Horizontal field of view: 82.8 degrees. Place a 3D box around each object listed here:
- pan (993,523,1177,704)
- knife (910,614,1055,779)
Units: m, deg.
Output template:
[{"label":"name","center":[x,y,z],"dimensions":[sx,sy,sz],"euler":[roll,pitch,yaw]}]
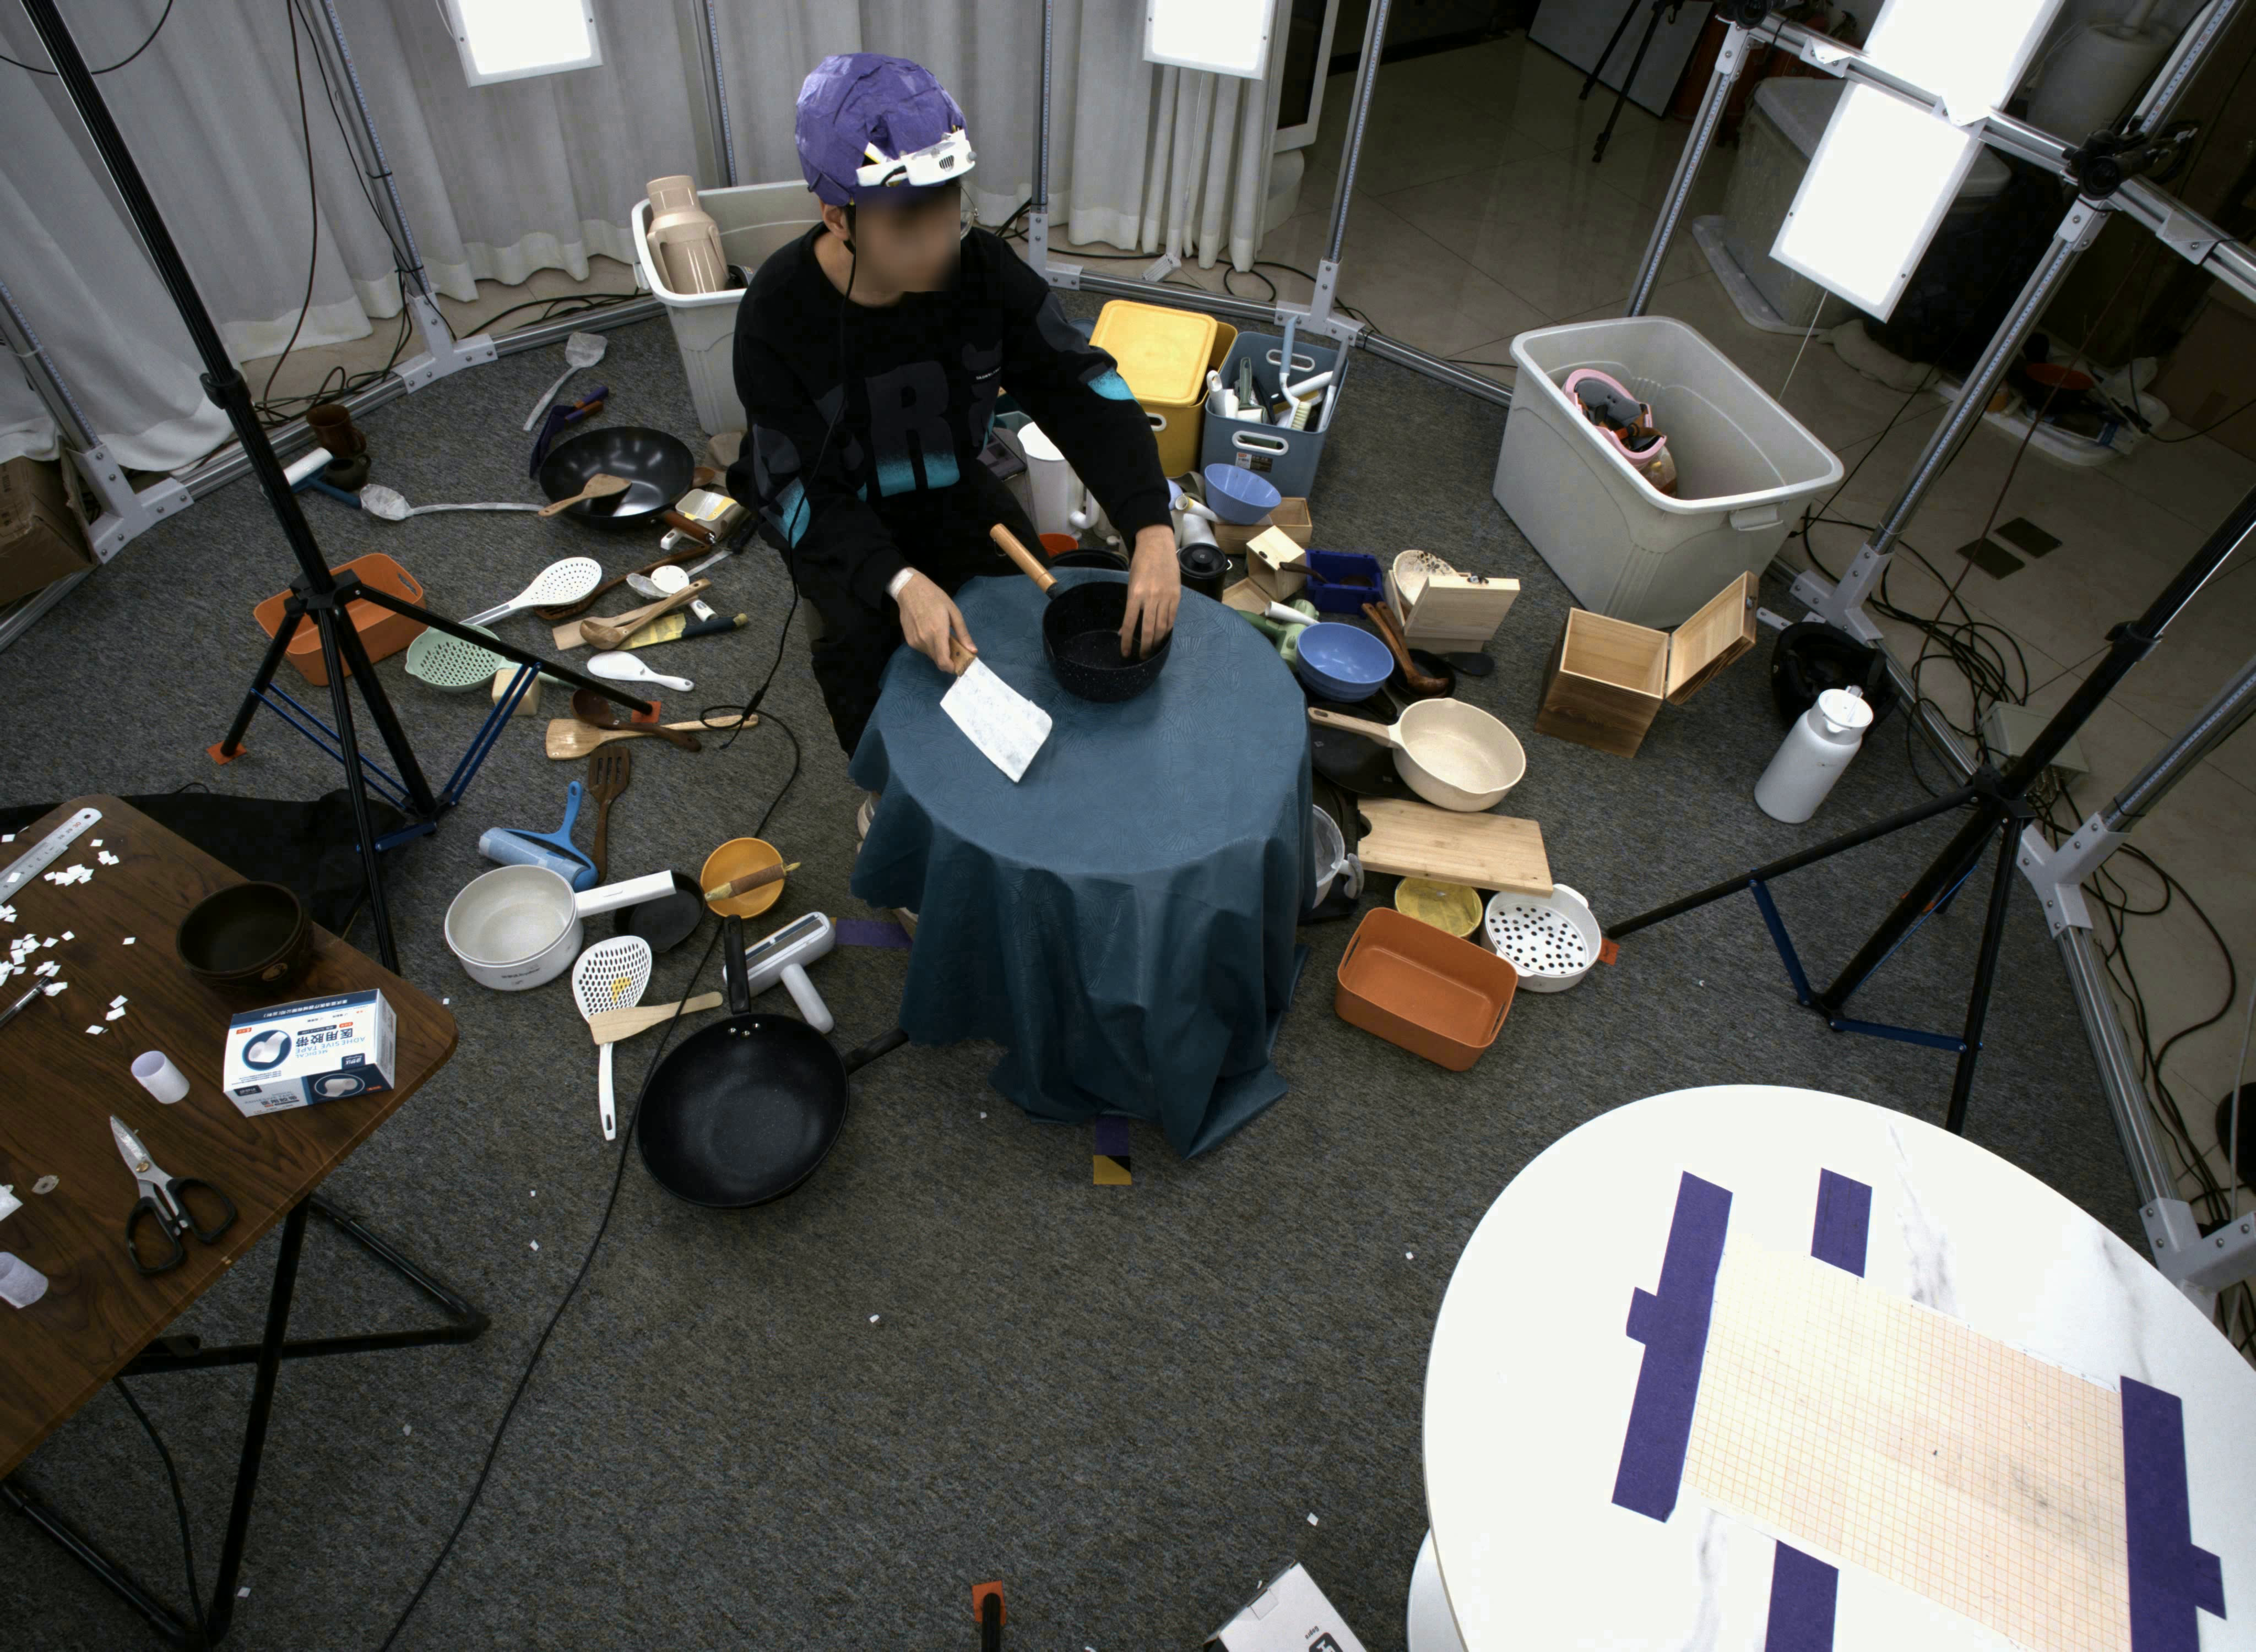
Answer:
[{"label":"pan","center":[-0.081,-0.311,1.863],"dimensions":[0.209,0.105,0.348],"euler":[-35,61,-28]},{"label":"knife","center":[-0.208,-0.192,1.773],"dimensions":[0.113,0.021,0.321],"euler":[-49,59,12]}]
